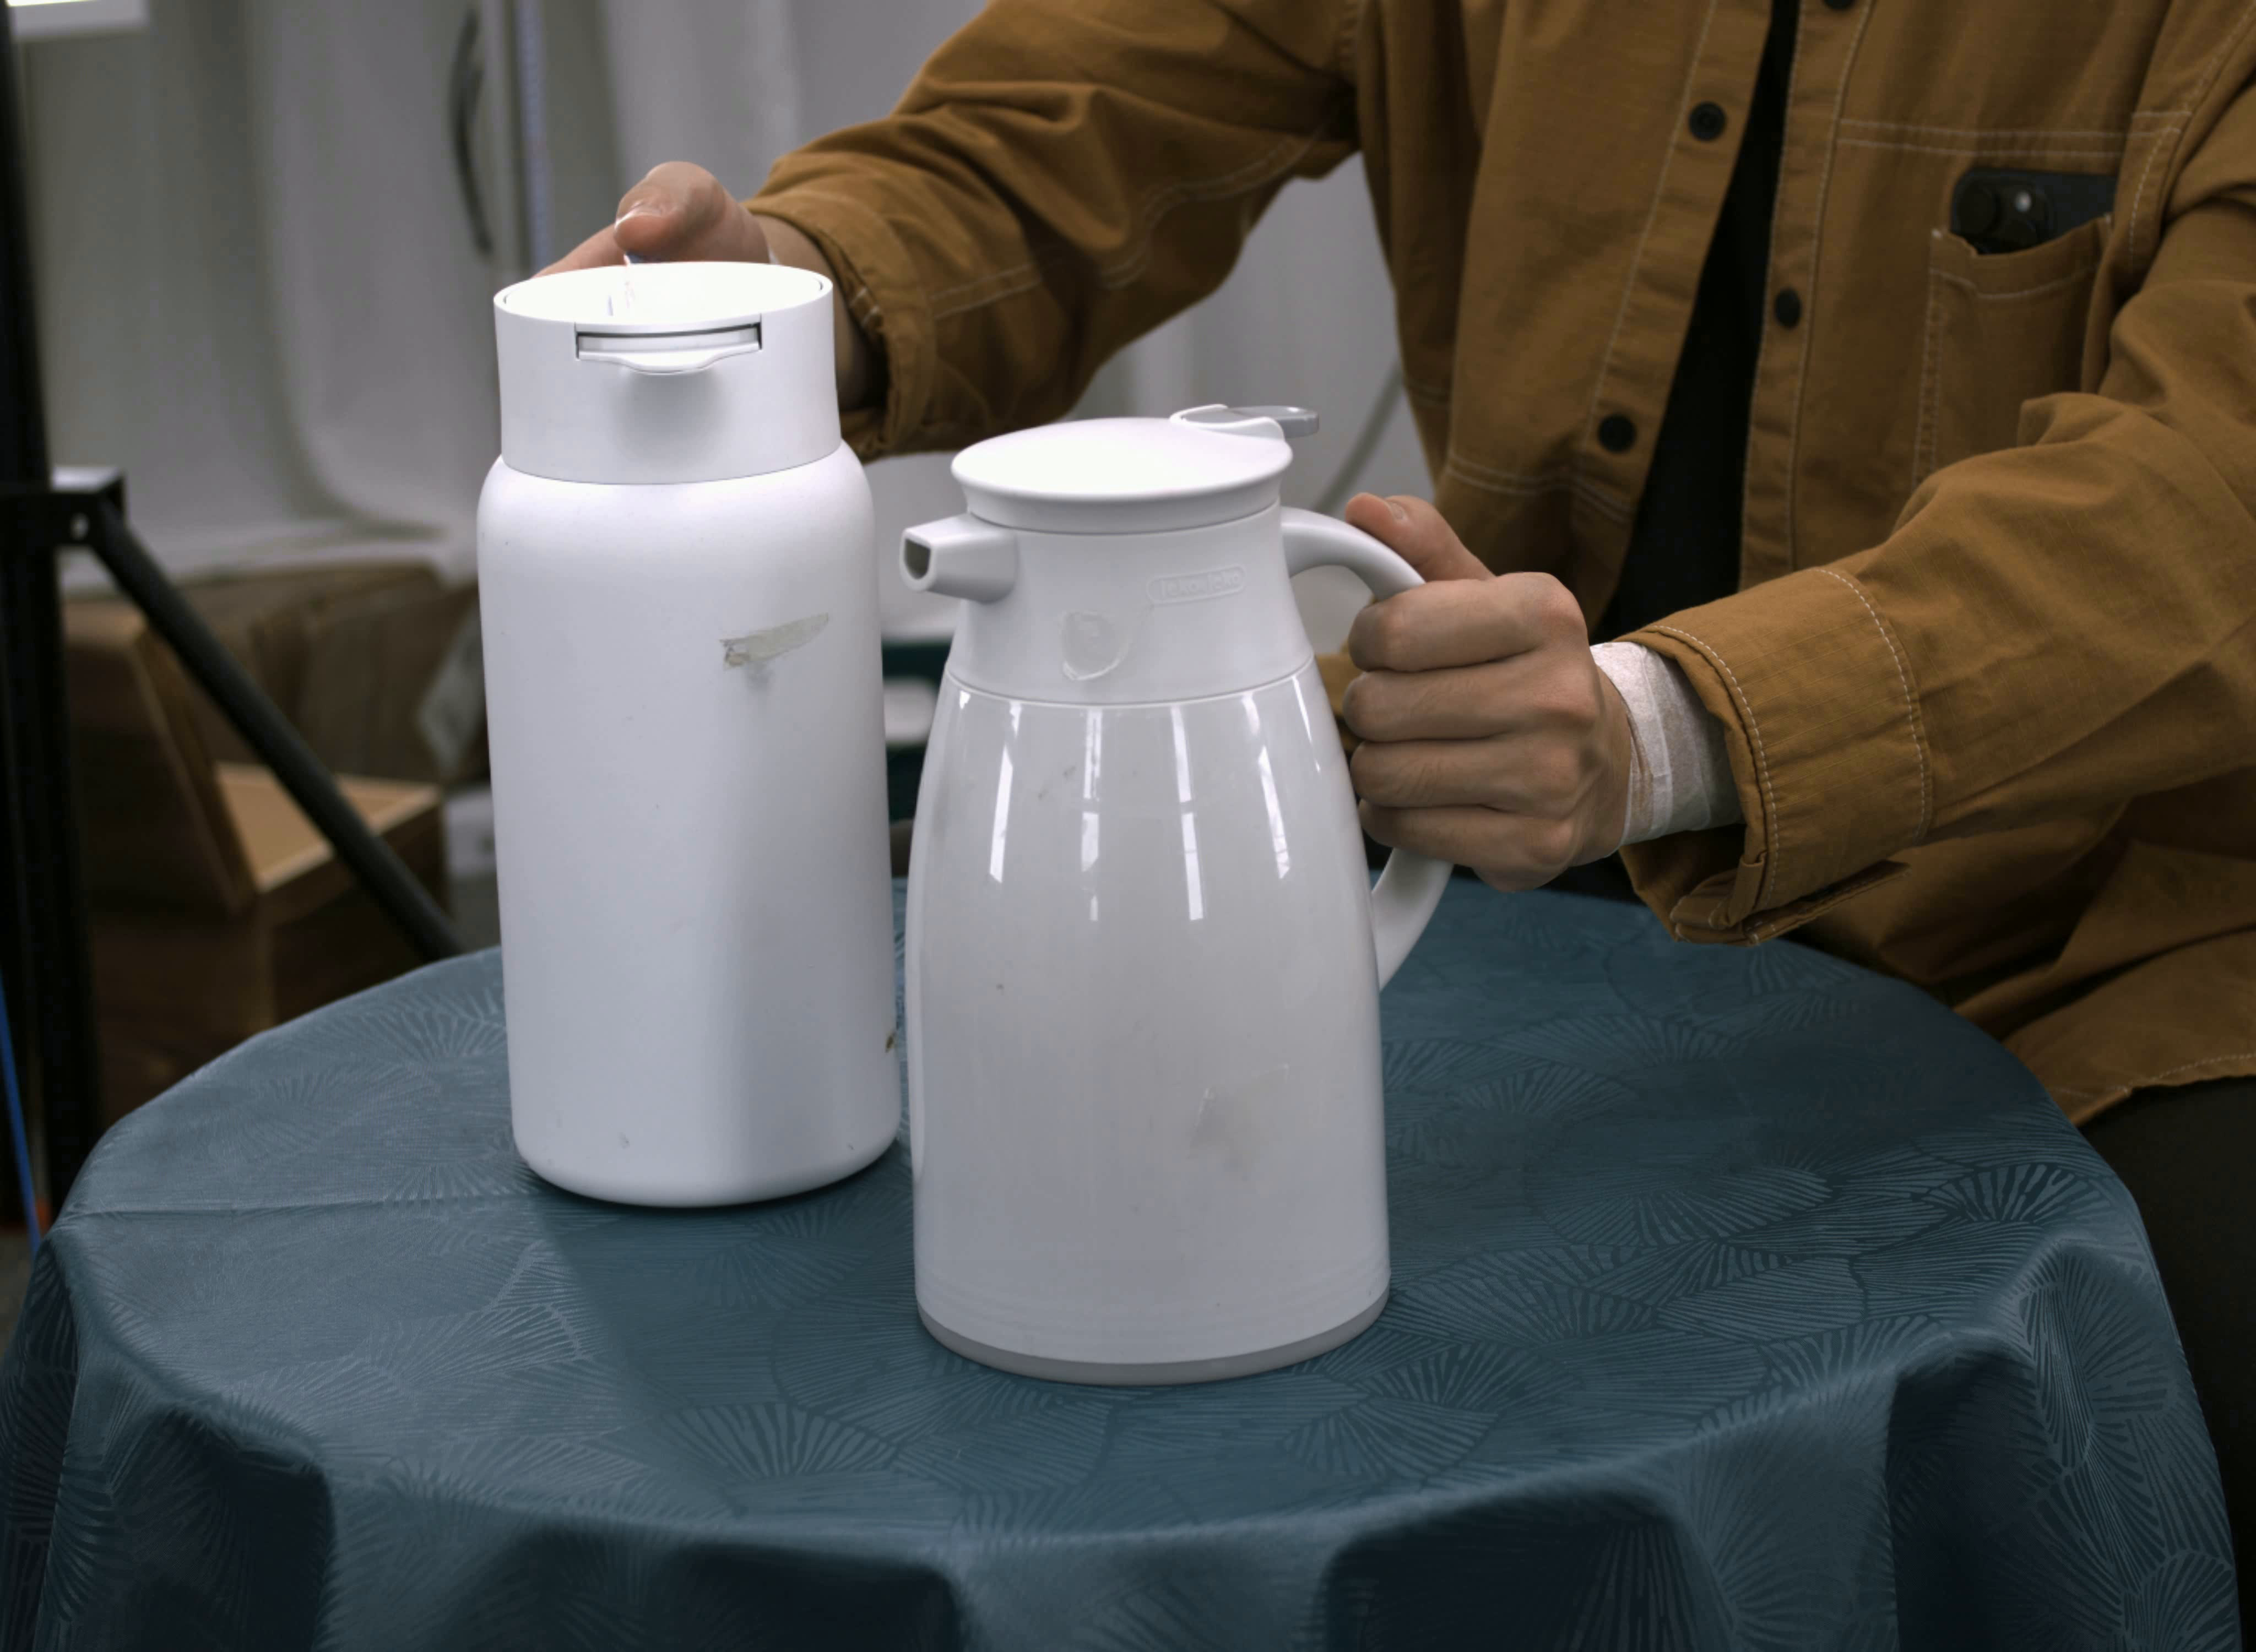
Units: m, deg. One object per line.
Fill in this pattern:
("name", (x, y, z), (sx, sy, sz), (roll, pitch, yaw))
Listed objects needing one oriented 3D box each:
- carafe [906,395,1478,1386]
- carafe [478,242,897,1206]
("carafe", (0.020, 0.009, 1.447), (0.164, 0.248, 0.135), (-9, 16, -26))
("carafe", (-0.133, -0.034, 1.590), (0.123, 0.269, 0.174), (-5, 15, -5))
